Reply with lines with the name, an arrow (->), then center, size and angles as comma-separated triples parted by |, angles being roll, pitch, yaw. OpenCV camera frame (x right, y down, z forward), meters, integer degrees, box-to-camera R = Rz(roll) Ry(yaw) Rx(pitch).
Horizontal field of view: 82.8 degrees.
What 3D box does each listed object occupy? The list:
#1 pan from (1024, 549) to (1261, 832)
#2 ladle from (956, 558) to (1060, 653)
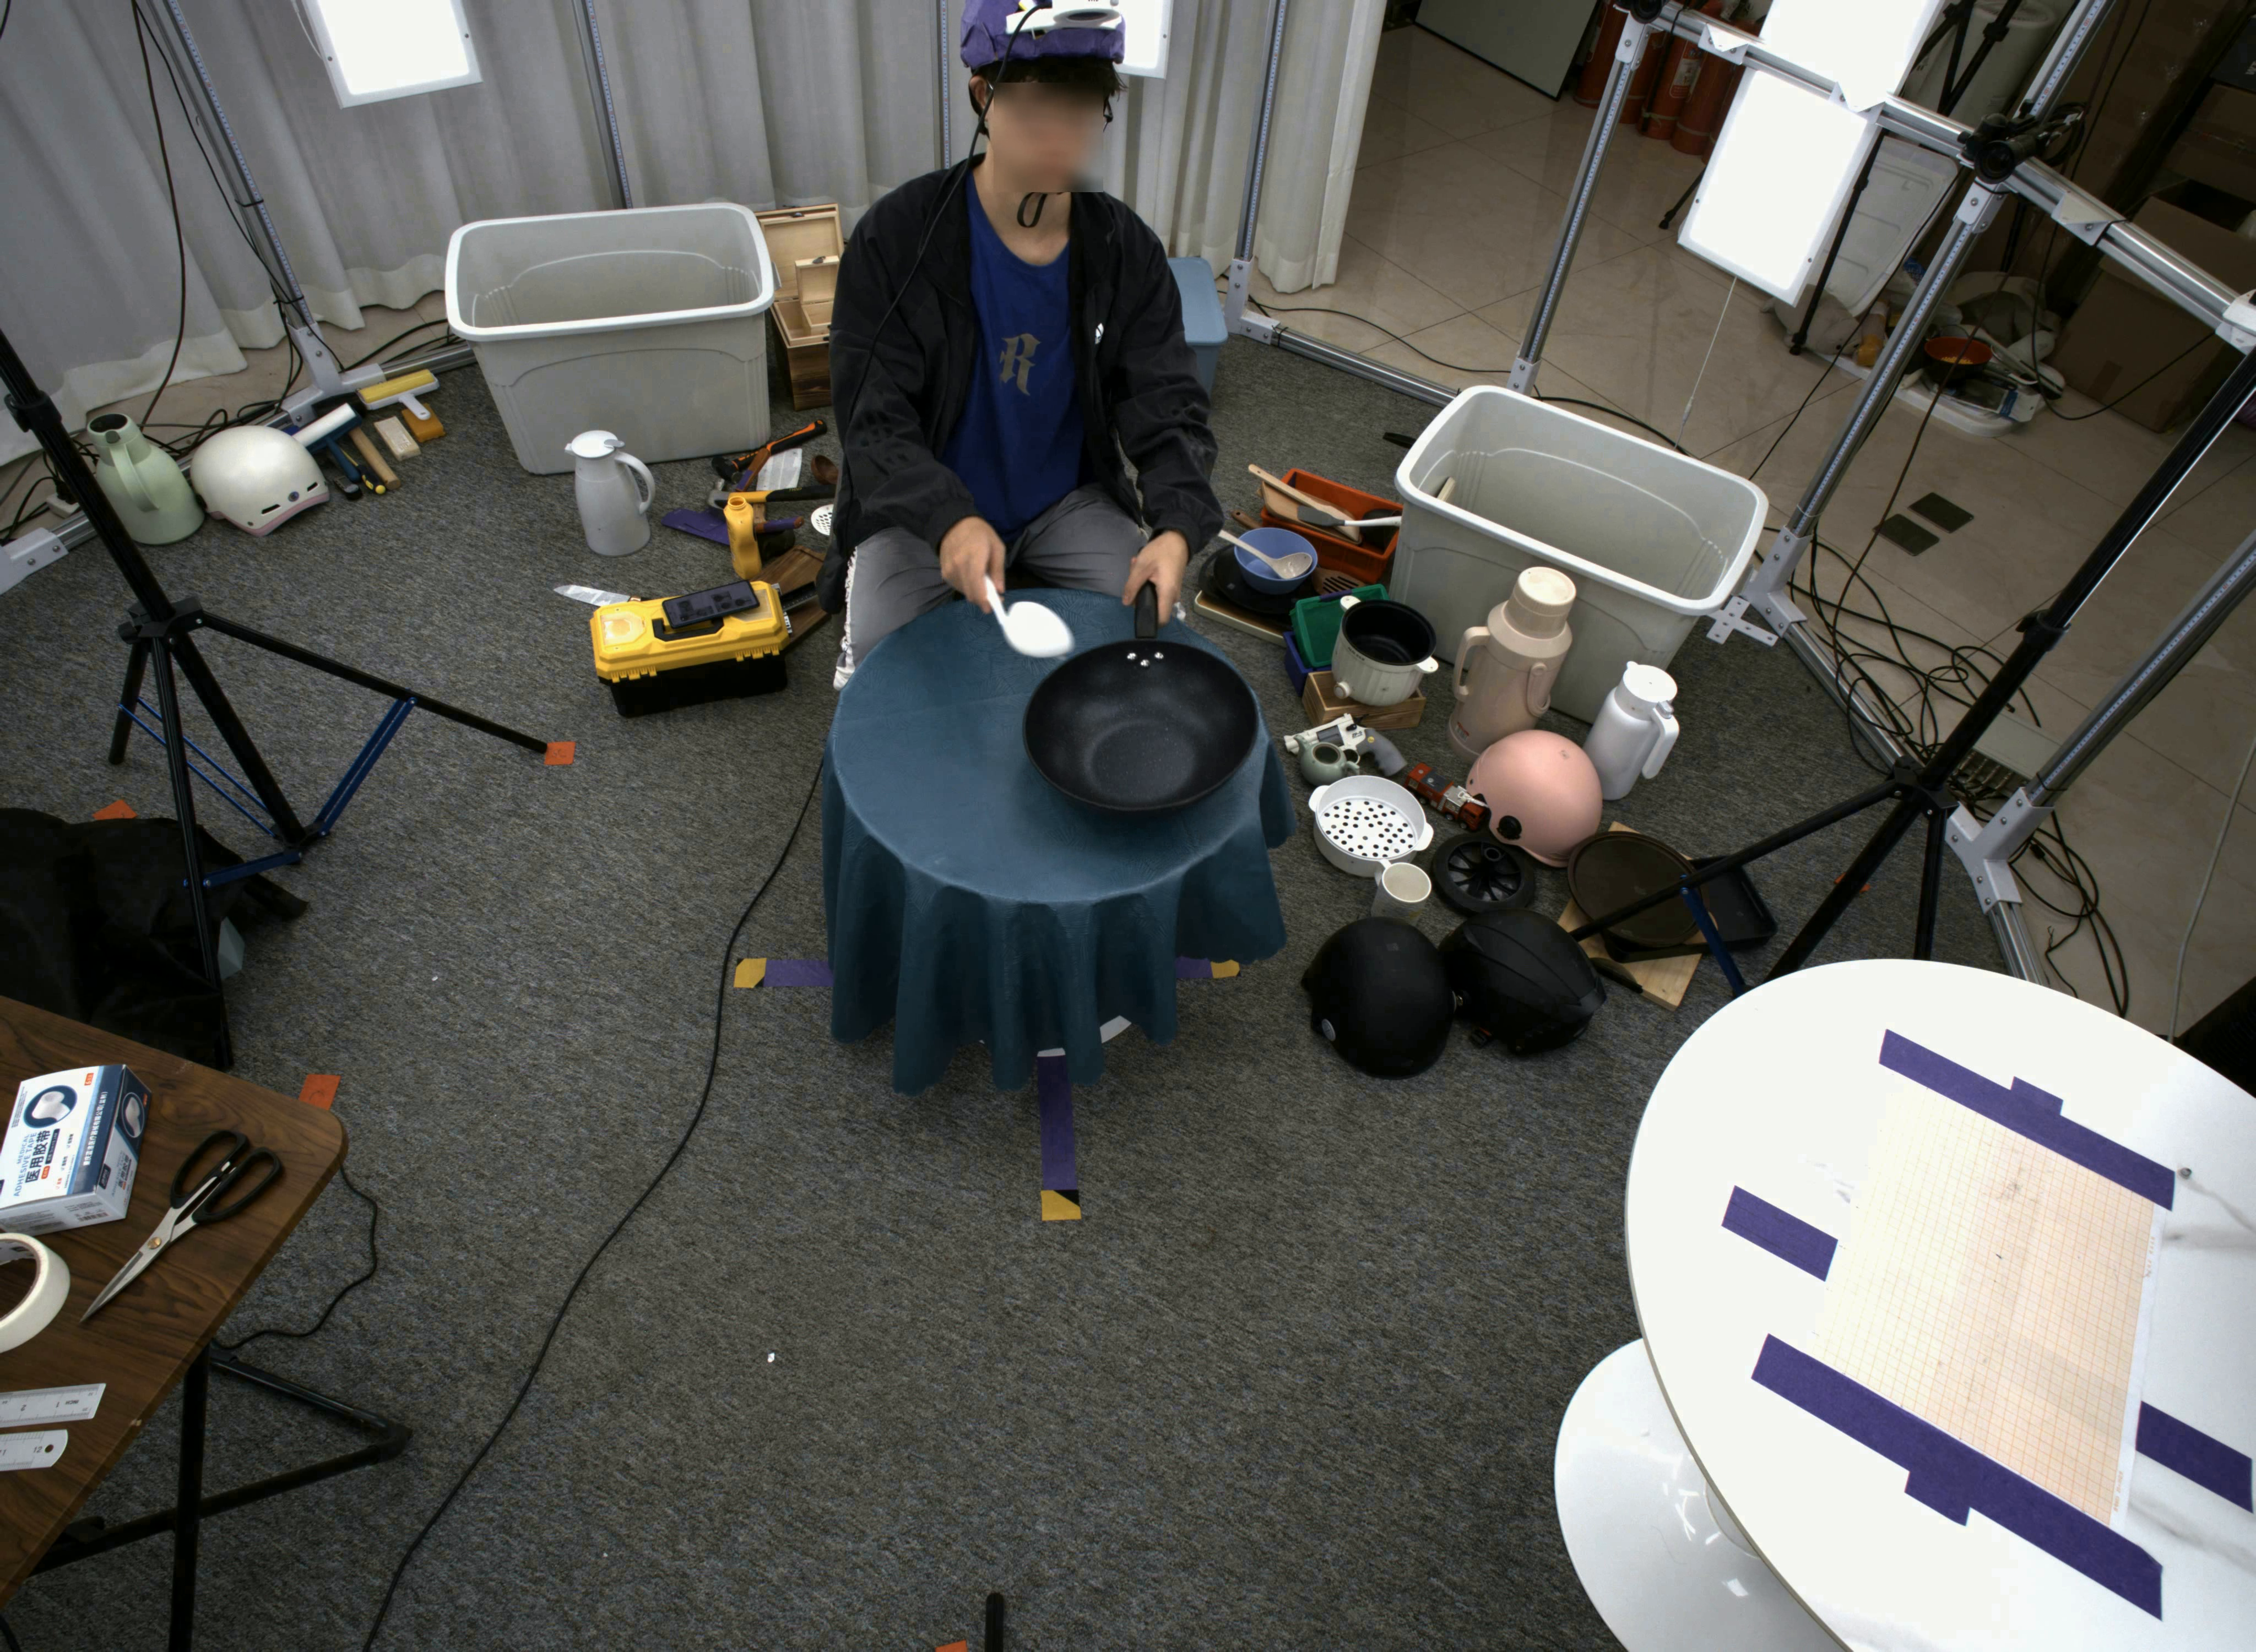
pan -> 0.023, -0.177, 1.749 | 0.310, 0.109, 0.488 | 1, 52, 3
ladle -> -0.165, -0.297, 1.664 | 0.069, 0.088, 0.299 | -45, 34, 9
